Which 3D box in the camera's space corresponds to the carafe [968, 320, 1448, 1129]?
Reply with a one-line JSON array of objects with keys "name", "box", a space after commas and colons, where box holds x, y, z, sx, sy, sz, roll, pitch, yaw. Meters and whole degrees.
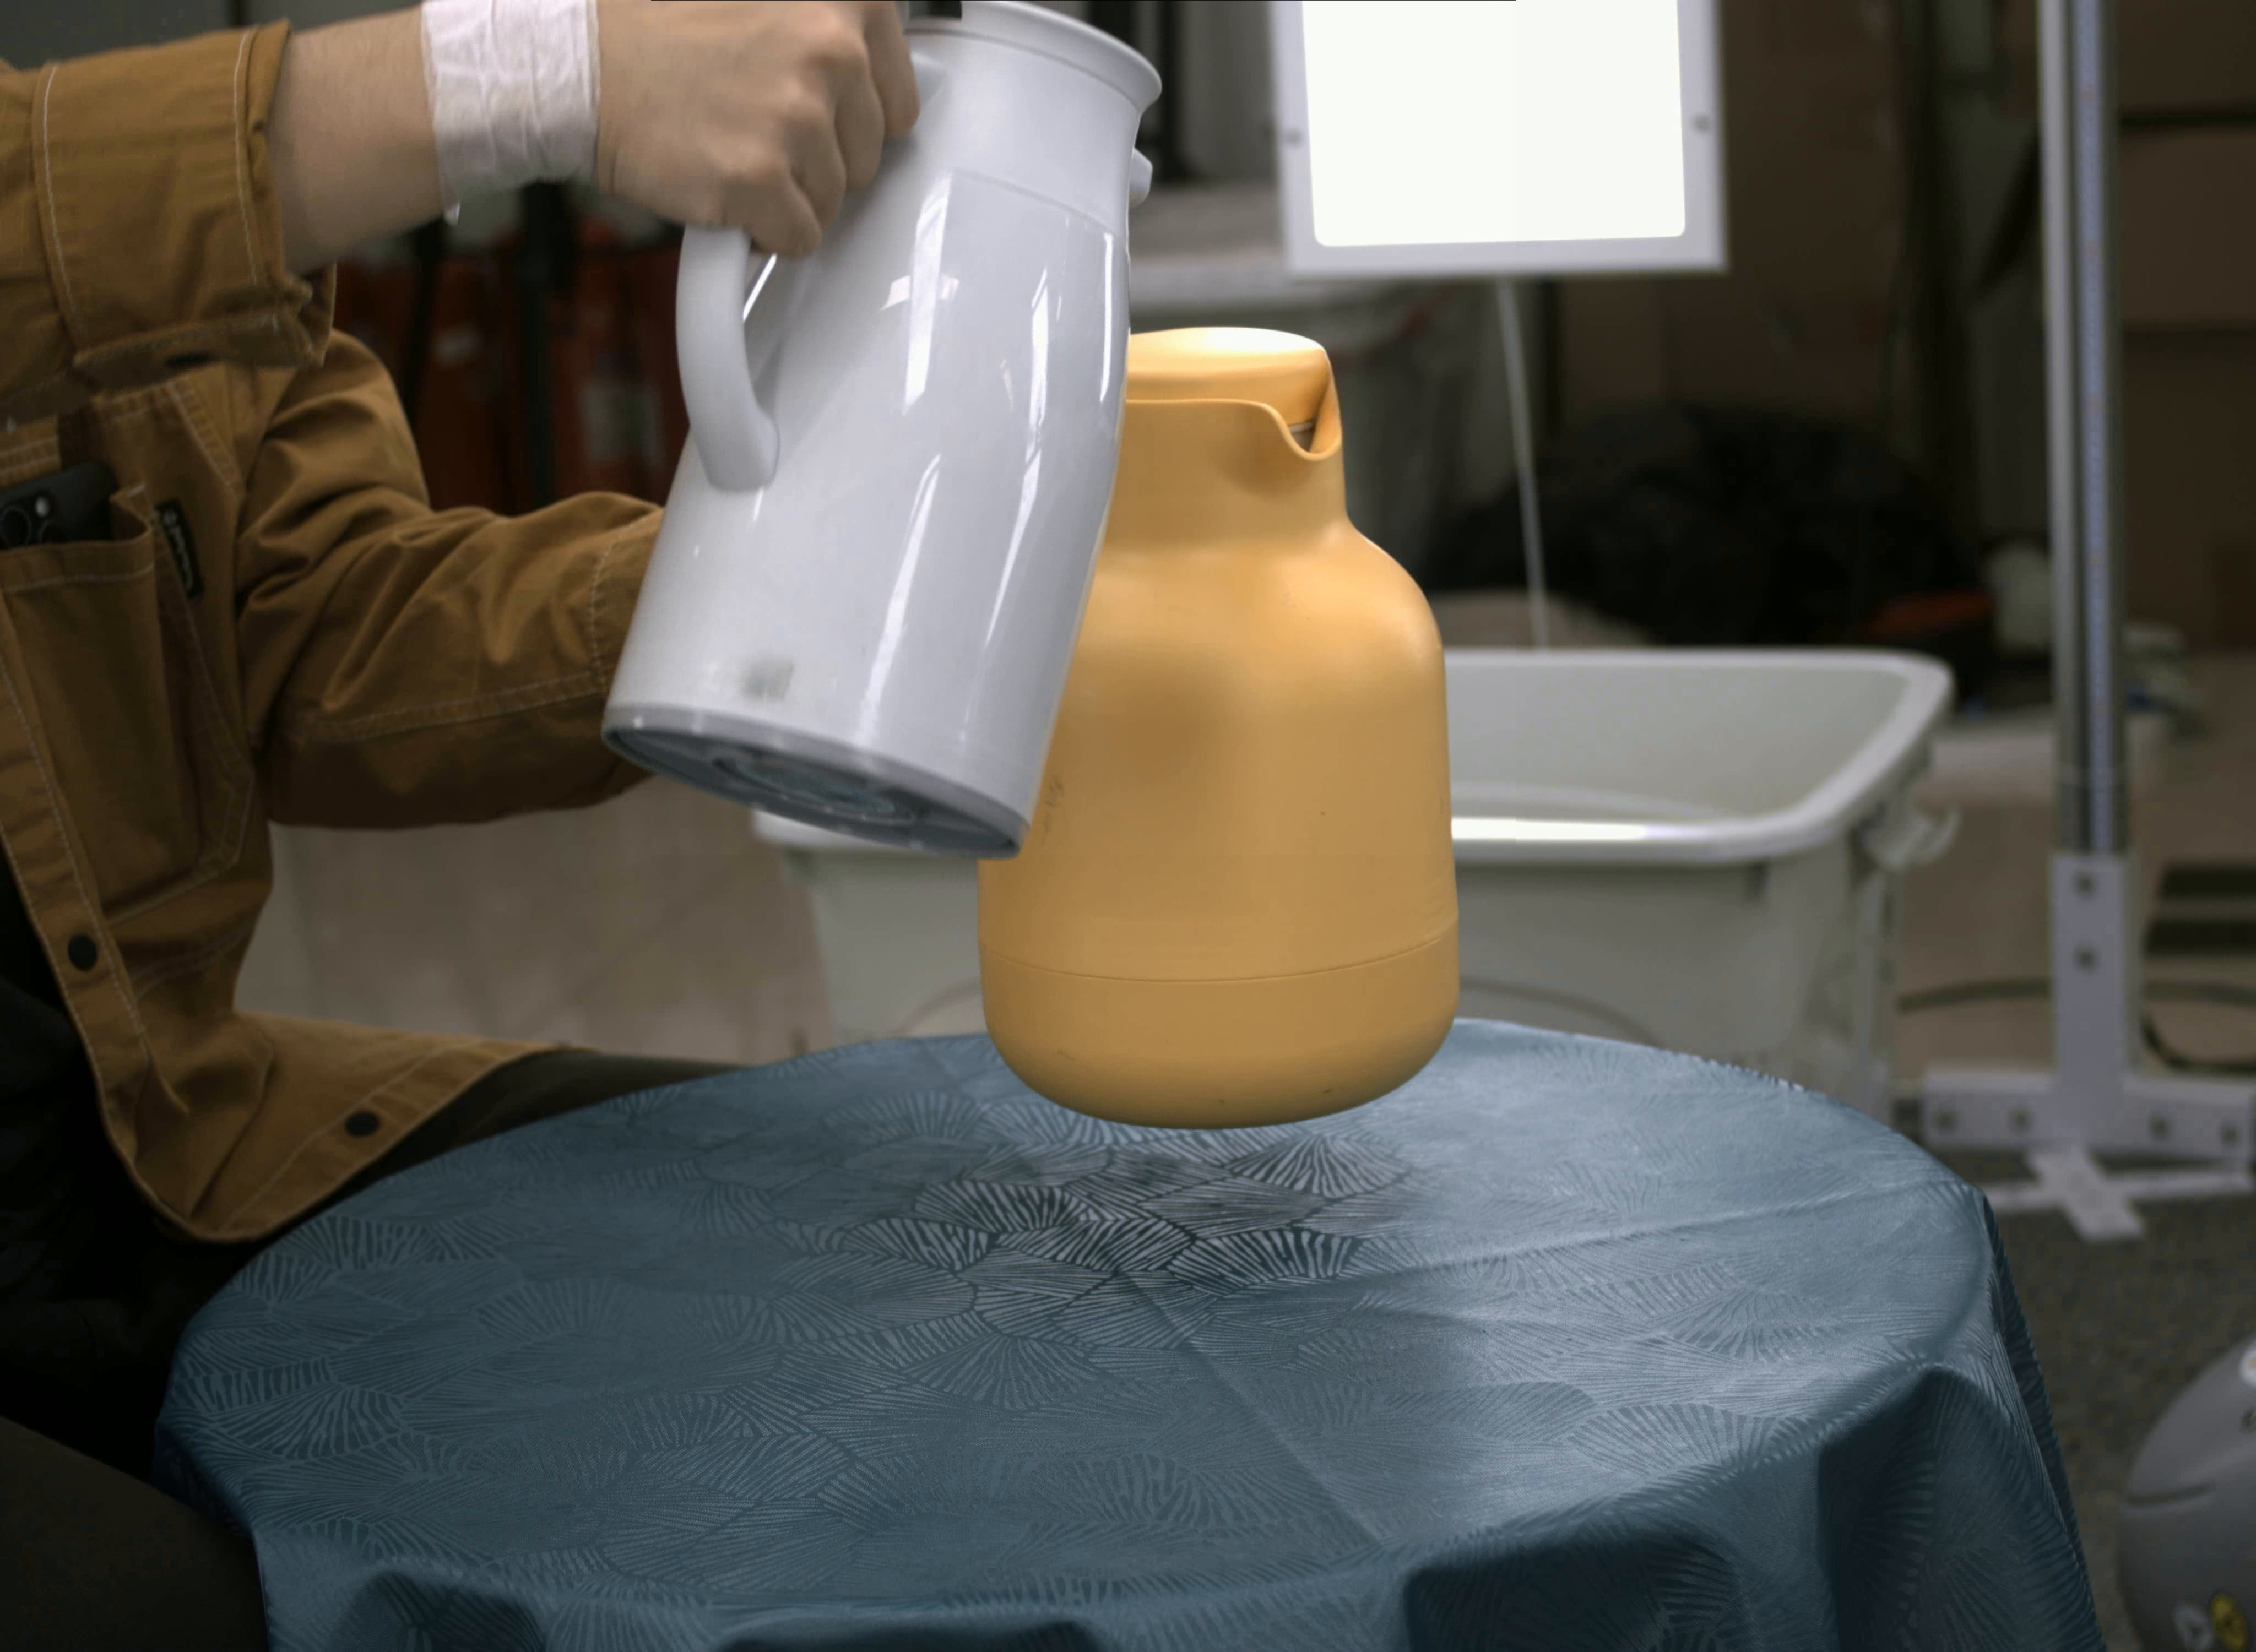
[{"name": "carafe", "box": [0.017, -0.041, 1.863, 0.160, 0.261, 0.206, -8, 15, -28]}]

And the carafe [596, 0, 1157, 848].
[{"name": "carafe", "box": [-0.074, -0.136, 1.648, 0.135, 0.248, 0.164, 8, -12, 41]}]
